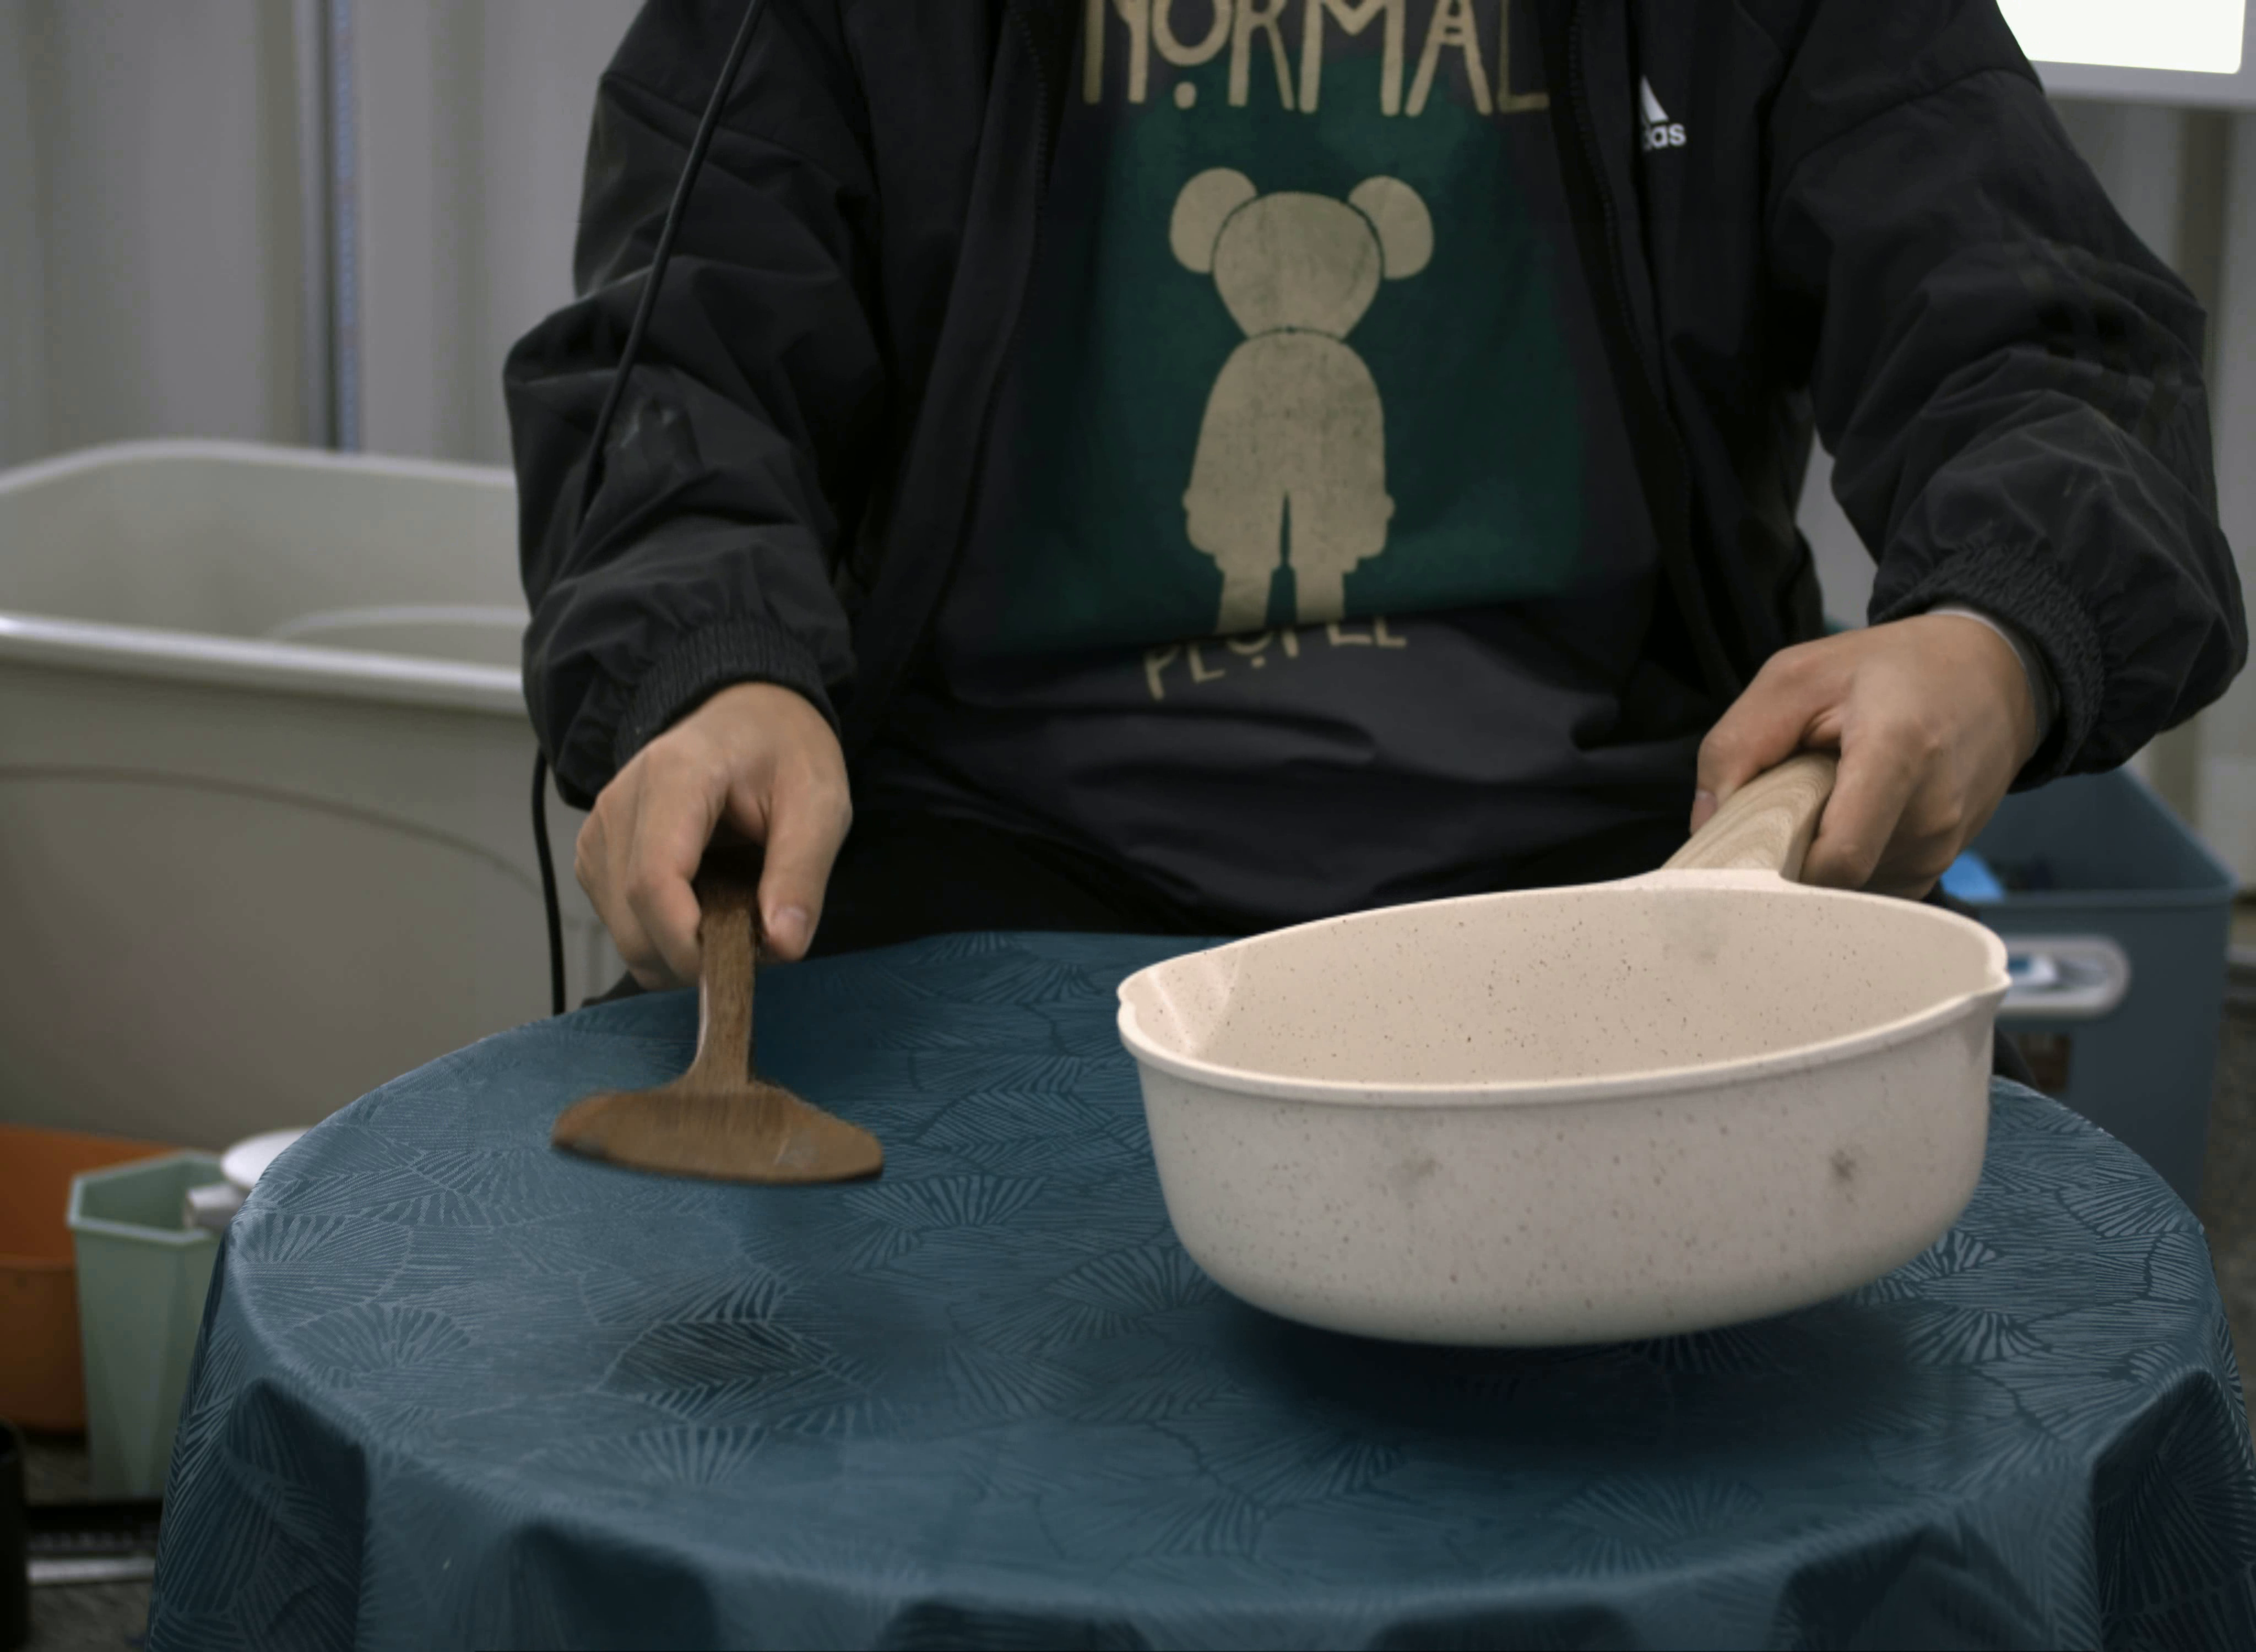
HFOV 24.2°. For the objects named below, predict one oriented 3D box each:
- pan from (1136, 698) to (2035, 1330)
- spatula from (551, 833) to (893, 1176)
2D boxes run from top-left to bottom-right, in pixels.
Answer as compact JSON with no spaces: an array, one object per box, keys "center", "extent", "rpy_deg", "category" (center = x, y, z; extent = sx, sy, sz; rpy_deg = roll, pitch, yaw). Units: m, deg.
[{"center":[0.167,0.051,1.570],"extent":[0.261,0.102,0.436],"rpy_deg":[-2,11,24],"category":"pan"},{"center":[-0.123,0.049,1.620],"extent":[0.096,0.016,0.383],"rpy_deg":[7,13,-5],"category":"spatula"}]
